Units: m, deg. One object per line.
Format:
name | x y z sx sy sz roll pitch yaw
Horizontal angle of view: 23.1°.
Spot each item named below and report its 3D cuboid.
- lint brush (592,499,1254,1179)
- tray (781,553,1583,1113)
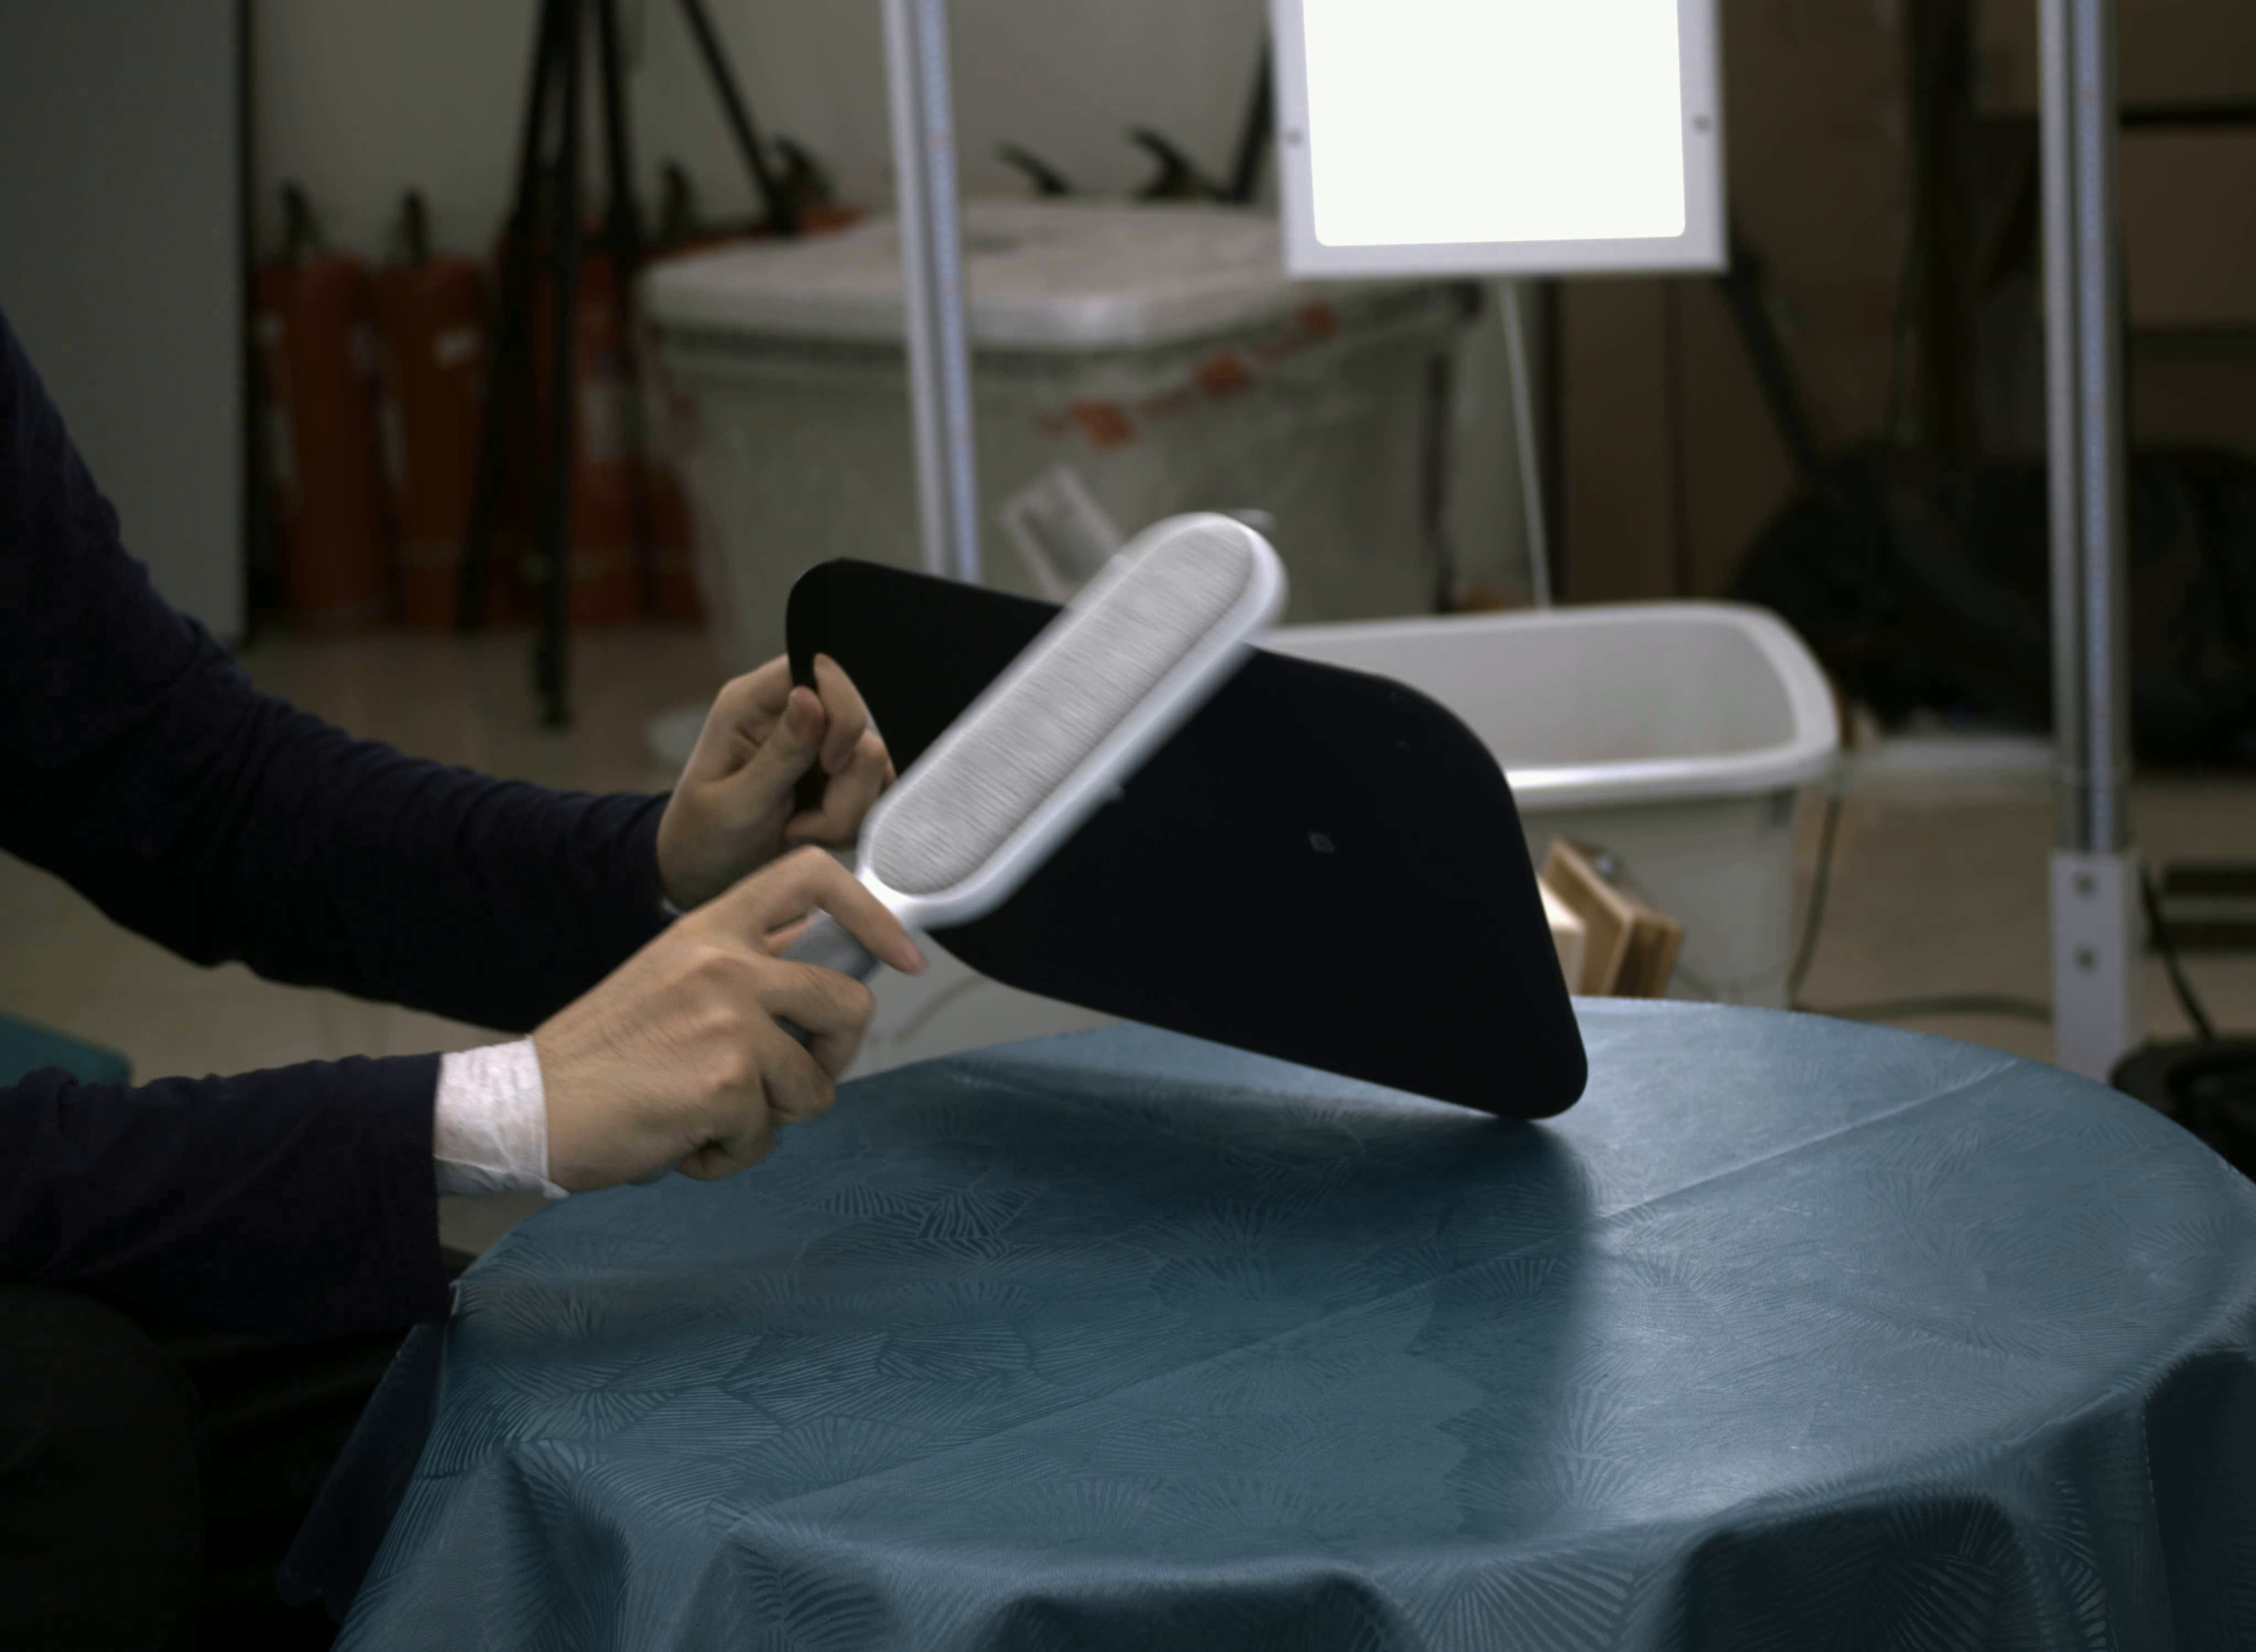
lint brush | -0.069 0.002 1.840 0.061 0.021 0.306 35 75 33
tray | 0.011 -0.001 1.956 0.332 0.210 0.009 13 47 36
